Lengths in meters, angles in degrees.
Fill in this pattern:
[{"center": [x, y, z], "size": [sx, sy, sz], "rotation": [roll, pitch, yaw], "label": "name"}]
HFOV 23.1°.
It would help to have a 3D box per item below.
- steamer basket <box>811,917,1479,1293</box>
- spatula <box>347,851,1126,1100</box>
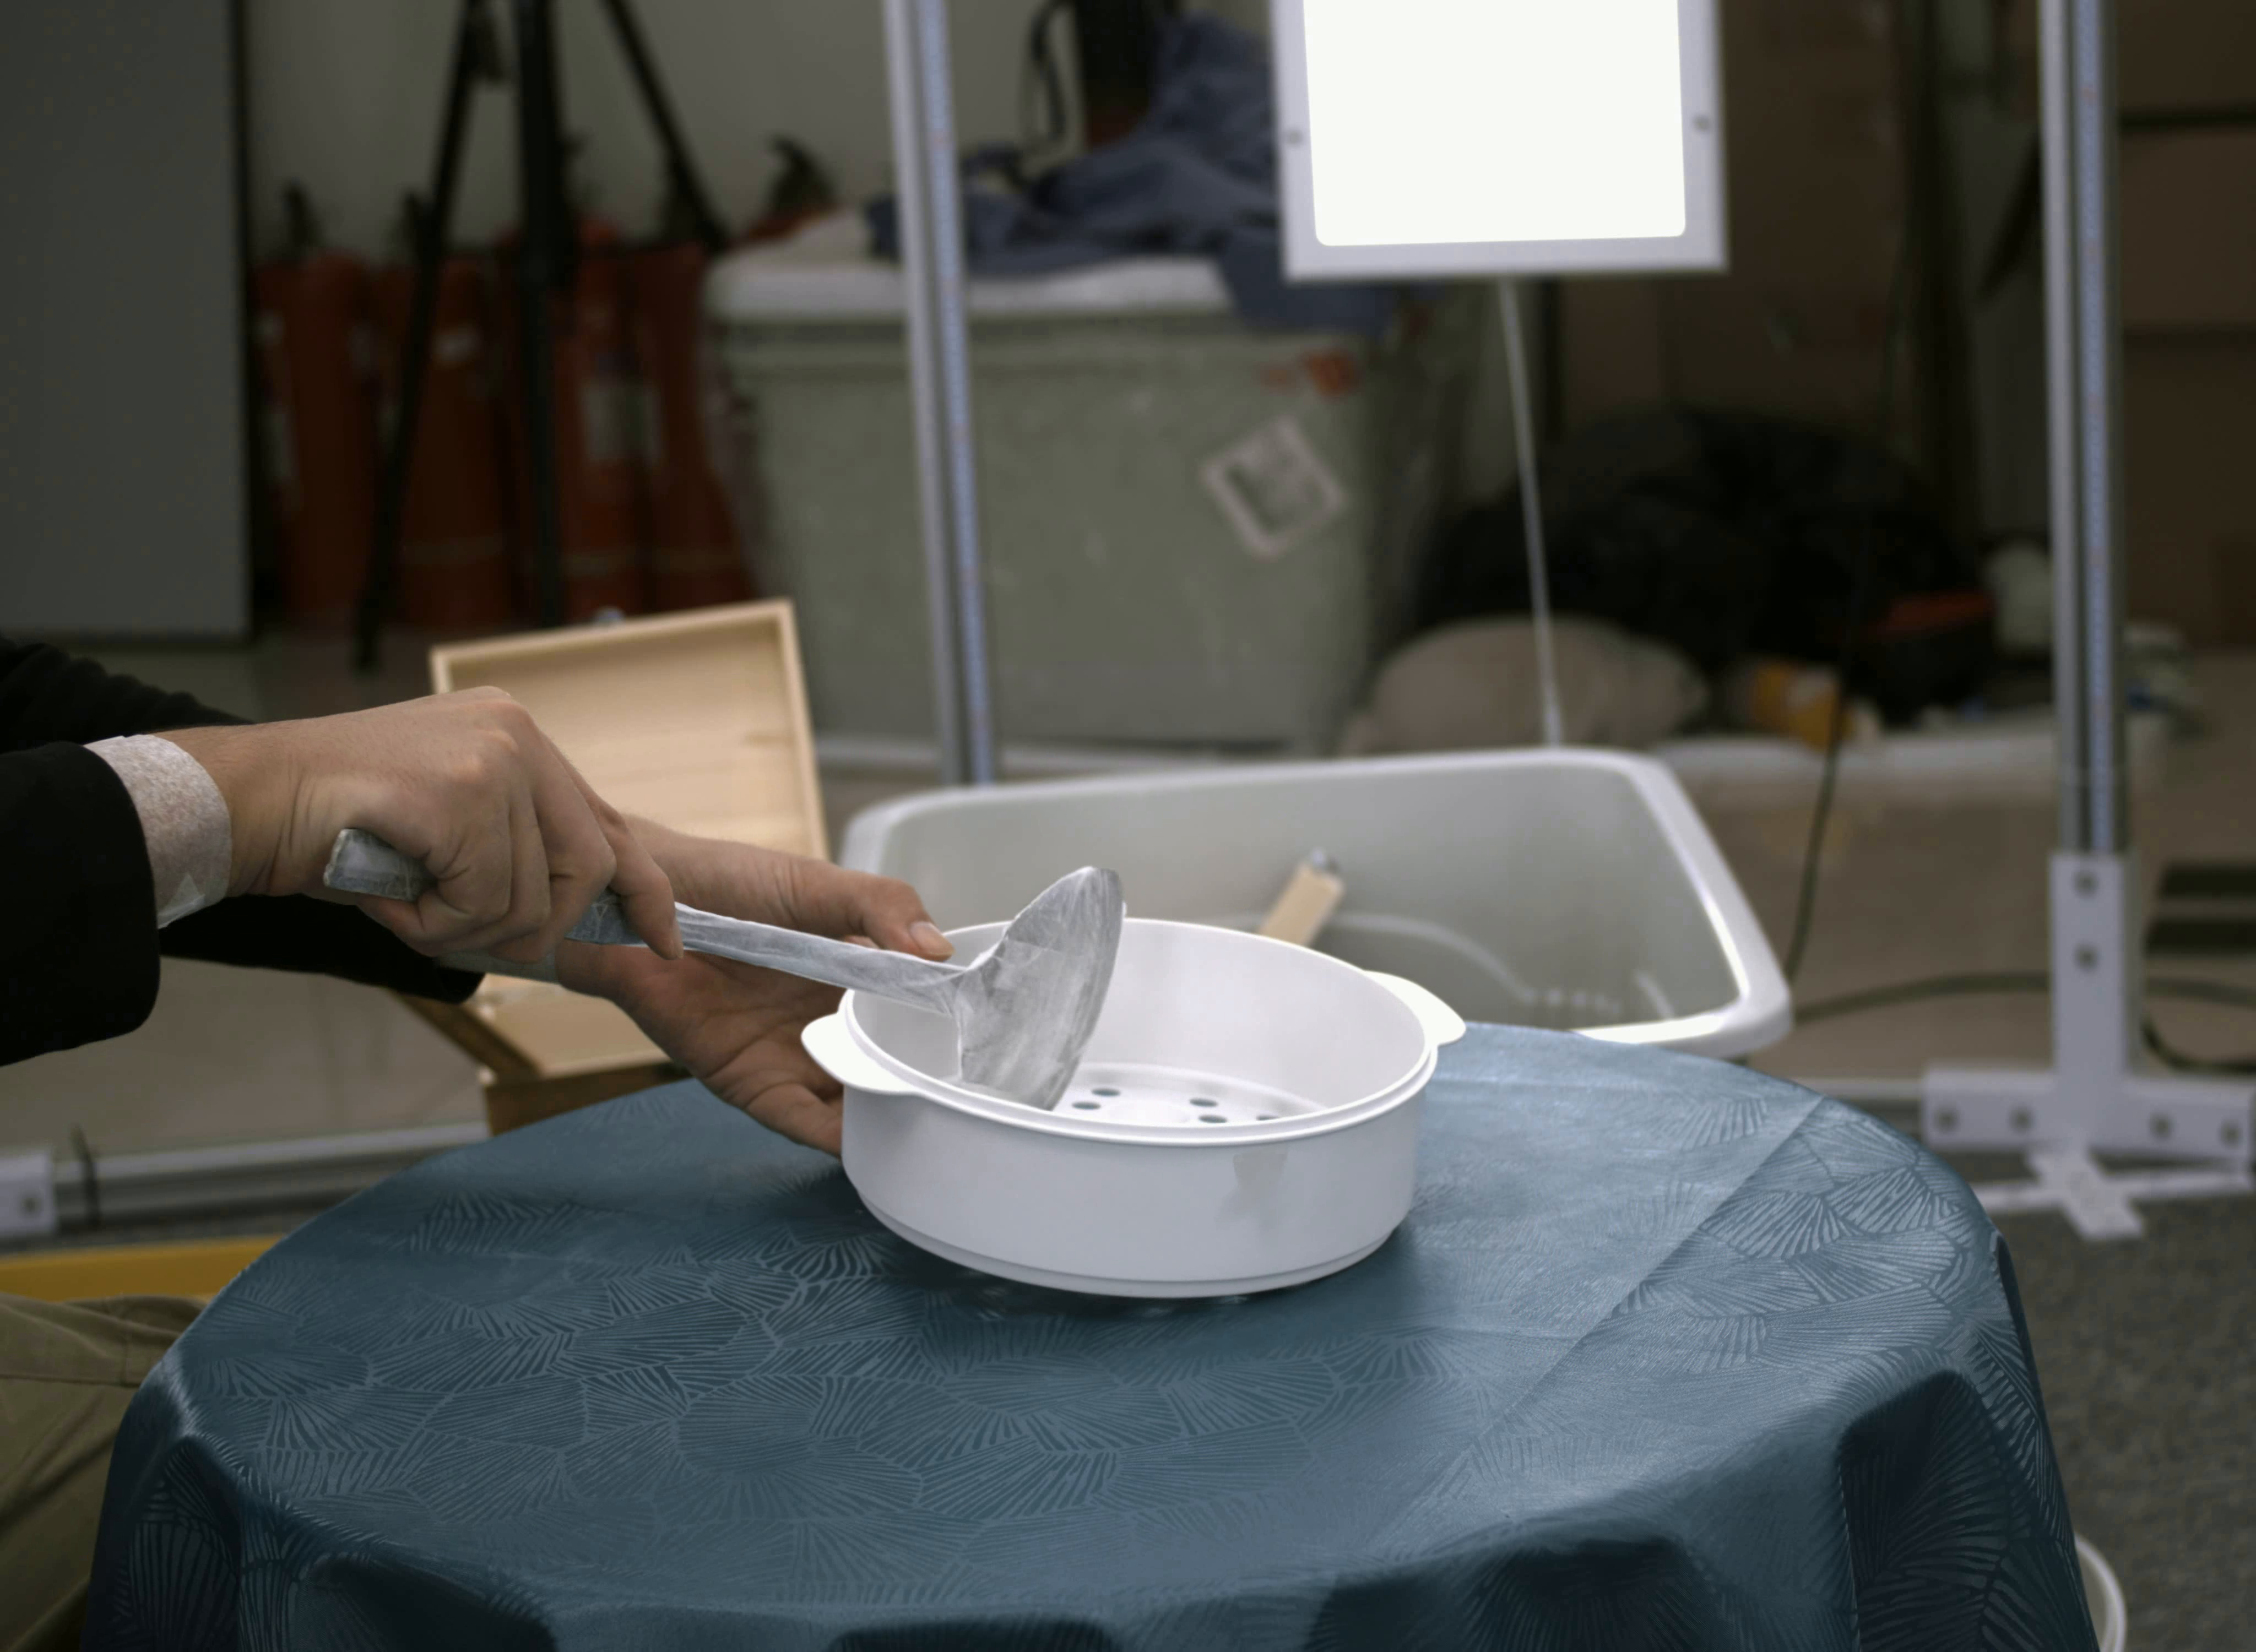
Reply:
[{"center": [0.006, 0.093, 1.844], "size": [0.226, 0.069, 0.204], "rotation": [-5, 19, -21], "label": "steamer basket"}, {"center": [-0.118, 0.039, 1.754], "size": [0.356, 0.099, 0.045], "rotation": [14, 12, -46], "label": "spatula"}]
